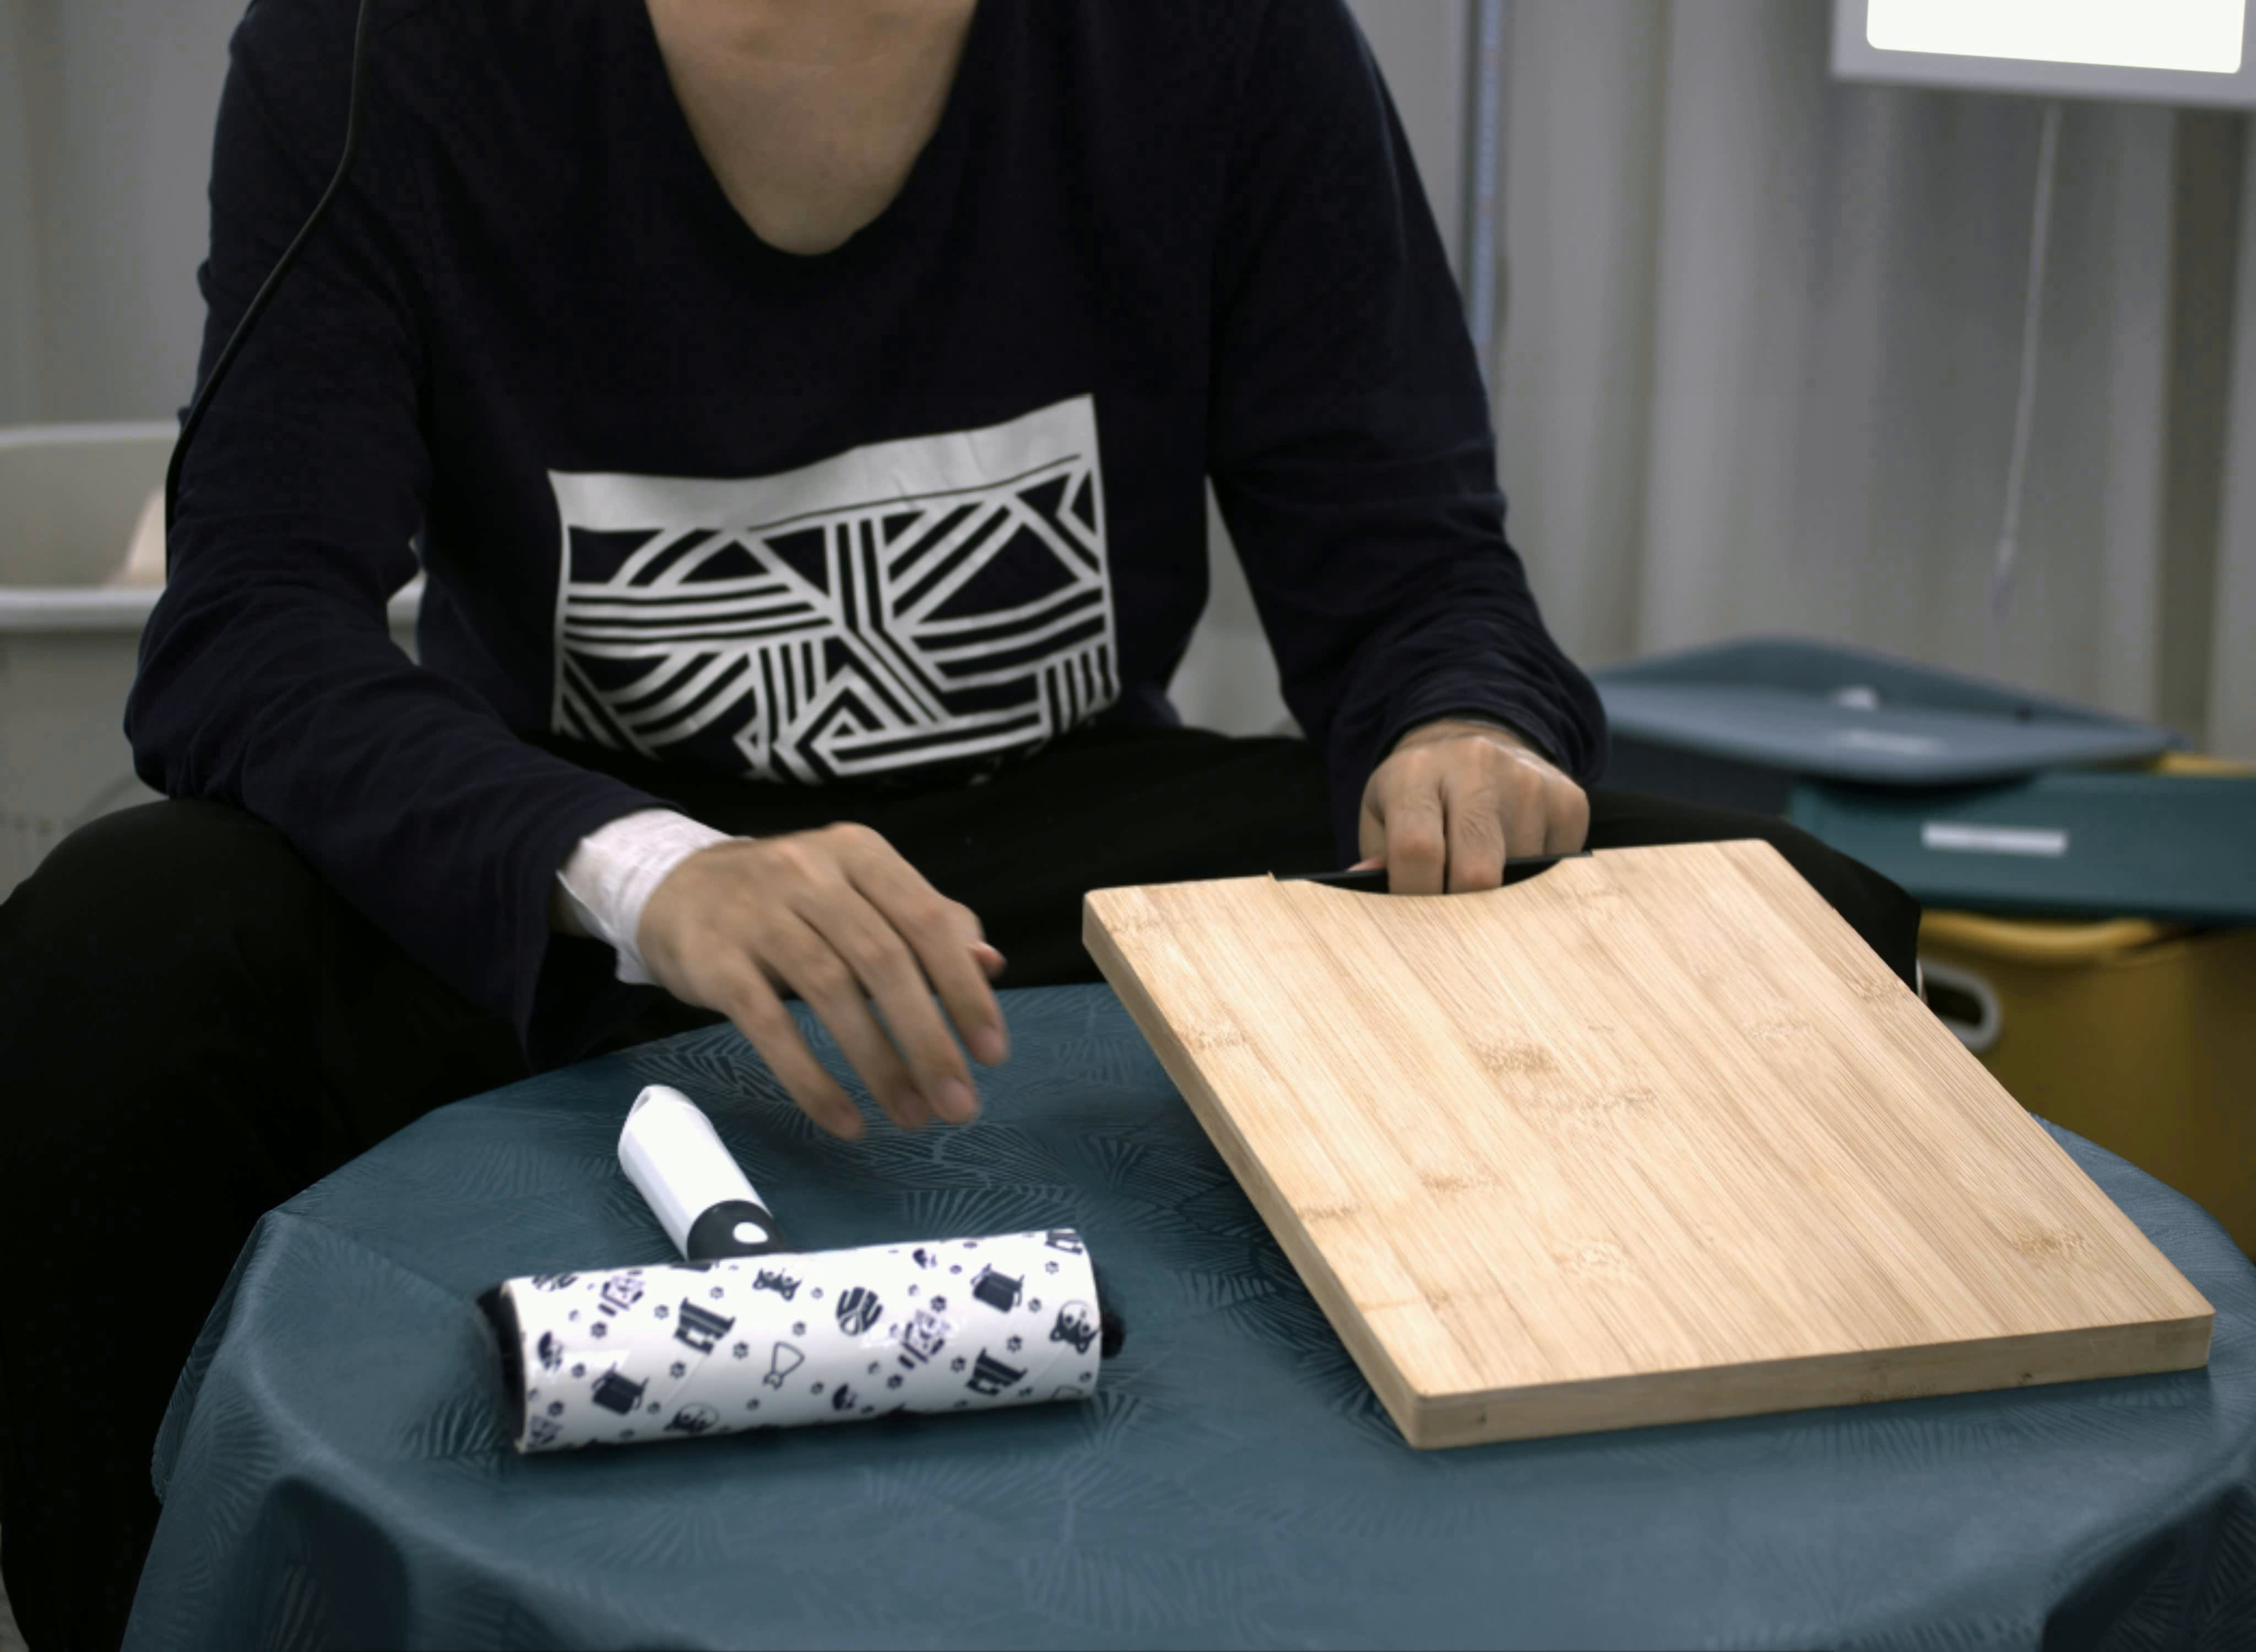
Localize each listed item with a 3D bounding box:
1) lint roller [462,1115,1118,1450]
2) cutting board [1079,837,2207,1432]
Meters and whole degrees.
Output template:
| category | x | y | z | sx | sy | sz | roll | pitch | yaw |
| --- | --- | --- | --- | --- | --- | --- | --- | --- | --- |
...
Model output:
| category | x | y | z | sx | sy | sz | roll | pitch | yaw |
| --- | --- | --- | --- | --- | --- | --- | --- | --- | --- |
| lint roller | -0.119 | 0.117 | 1.526 | 0.176 | 0.051 | 0.244 | -5 | 14 | -16 |
| cutting board | 0.144 | 0.086 | 1.603 | 0.251 | 0.024 | 0.344 | -4 | 24 | -17 |
